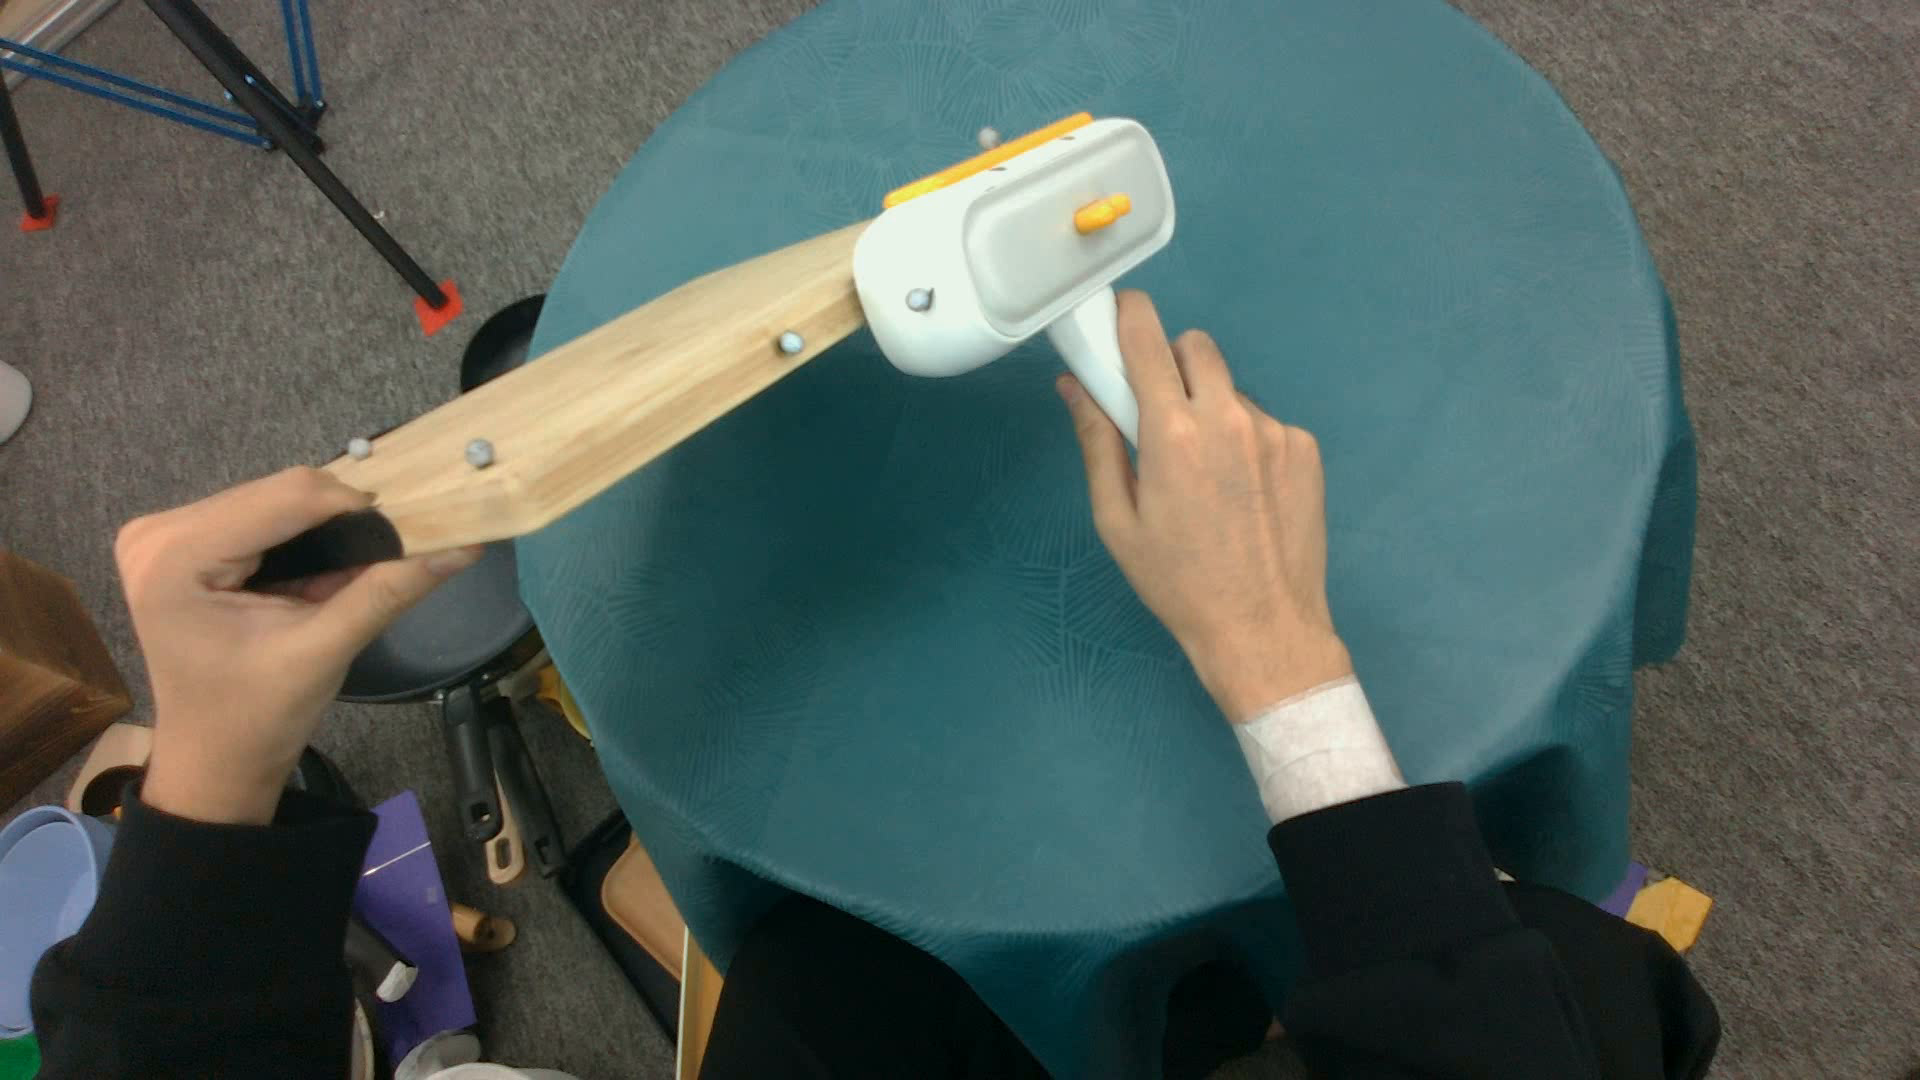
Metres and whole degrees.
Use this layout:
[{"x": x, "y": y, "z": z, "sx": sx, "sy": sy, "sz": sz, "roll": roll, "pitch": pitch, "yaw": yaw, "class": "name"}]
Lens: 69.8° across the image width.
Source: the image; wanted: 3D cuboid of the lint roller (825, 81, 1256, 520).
[{"x": 0.050, "y": -0.084, "z": 0.560, "sx": 0.074, "sy": 0.192, "sz": 0.194, "roll": -23, "pitch": 17, "yaw": 34, "class": "lint roller"}]

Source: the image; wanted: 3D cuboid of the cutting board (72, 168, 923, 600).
[{"x": -0.147, "y": -0.080, "z": 0.570, "sx": 0.250, "sy": 0.023, "sz": 0.350, "roll": -9, "pitch": 24, "yaw": 35, "class": "cutting board"}]
